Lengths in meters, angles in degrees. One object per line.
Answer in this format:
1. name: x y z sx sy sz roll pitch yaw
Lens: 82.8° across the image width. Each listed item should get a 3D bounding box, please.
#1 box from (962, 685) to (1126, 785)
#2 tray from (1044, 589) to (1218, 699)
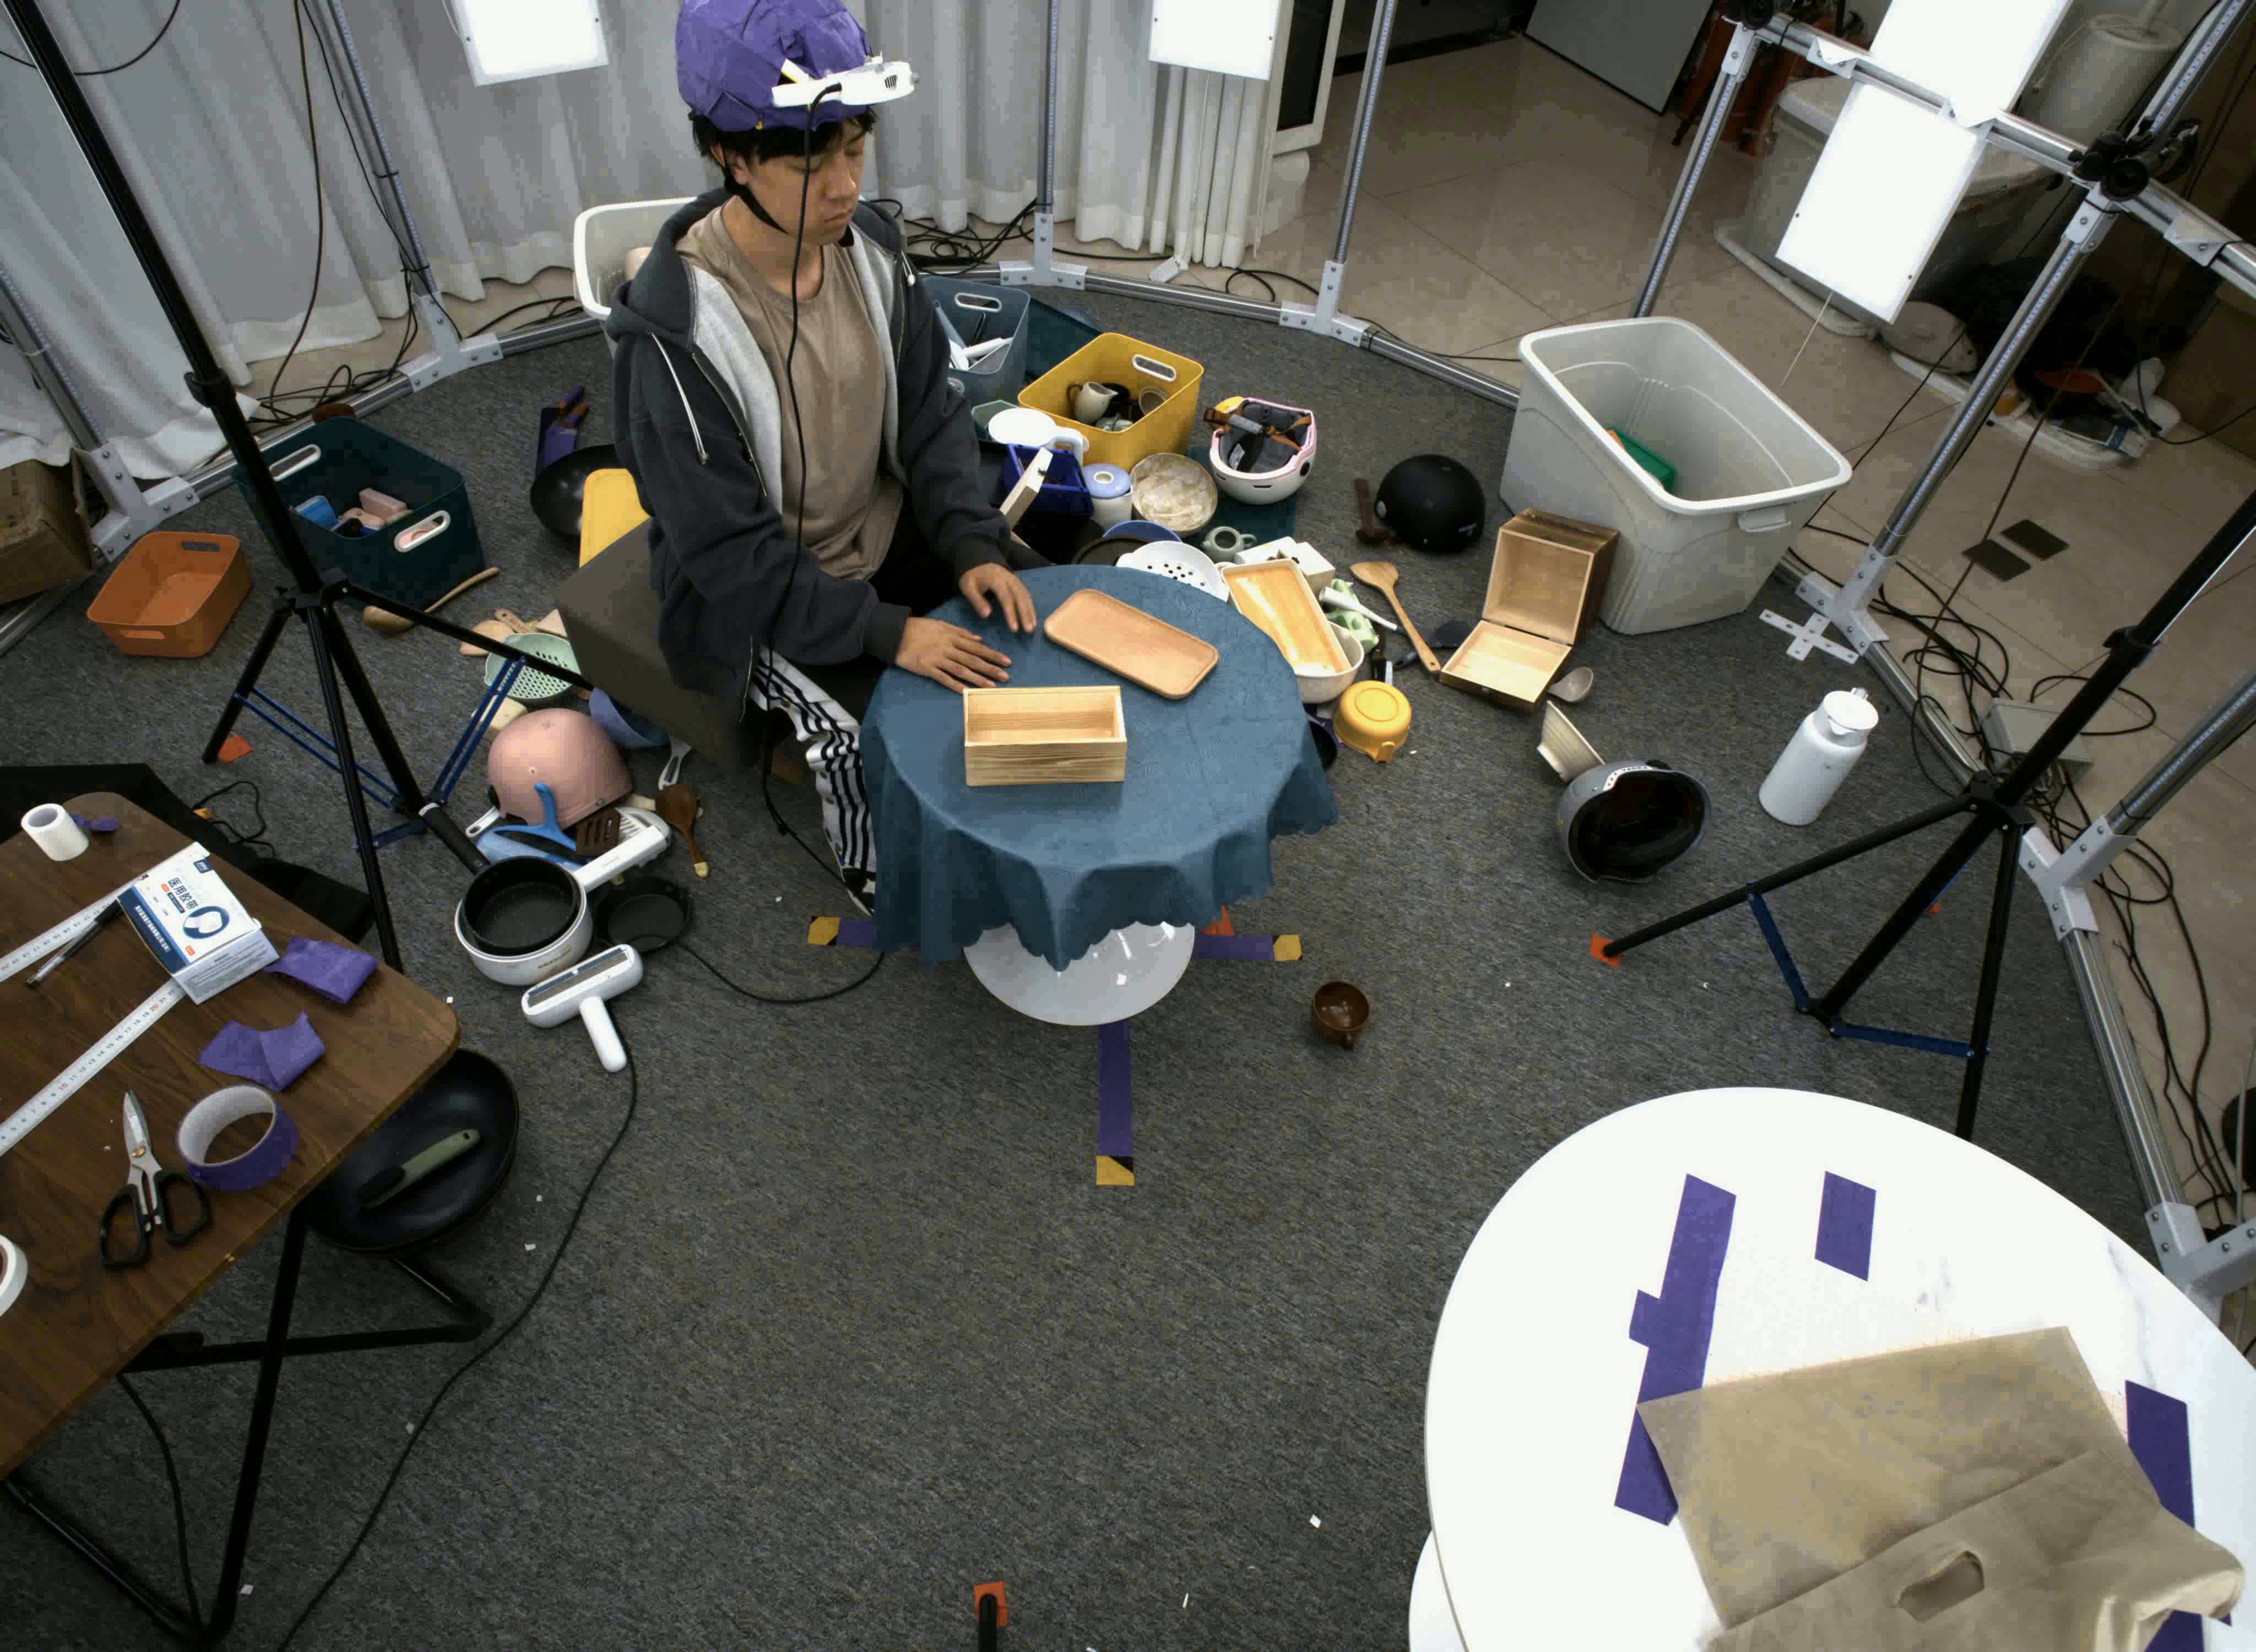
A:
1. box: -0.114 -0.122 1.713 0.211 0.078 0.110 -2 49 -6
2. tray: 0.003 -0.269 1.889 0.253 0.022 0.132 28 50 20
